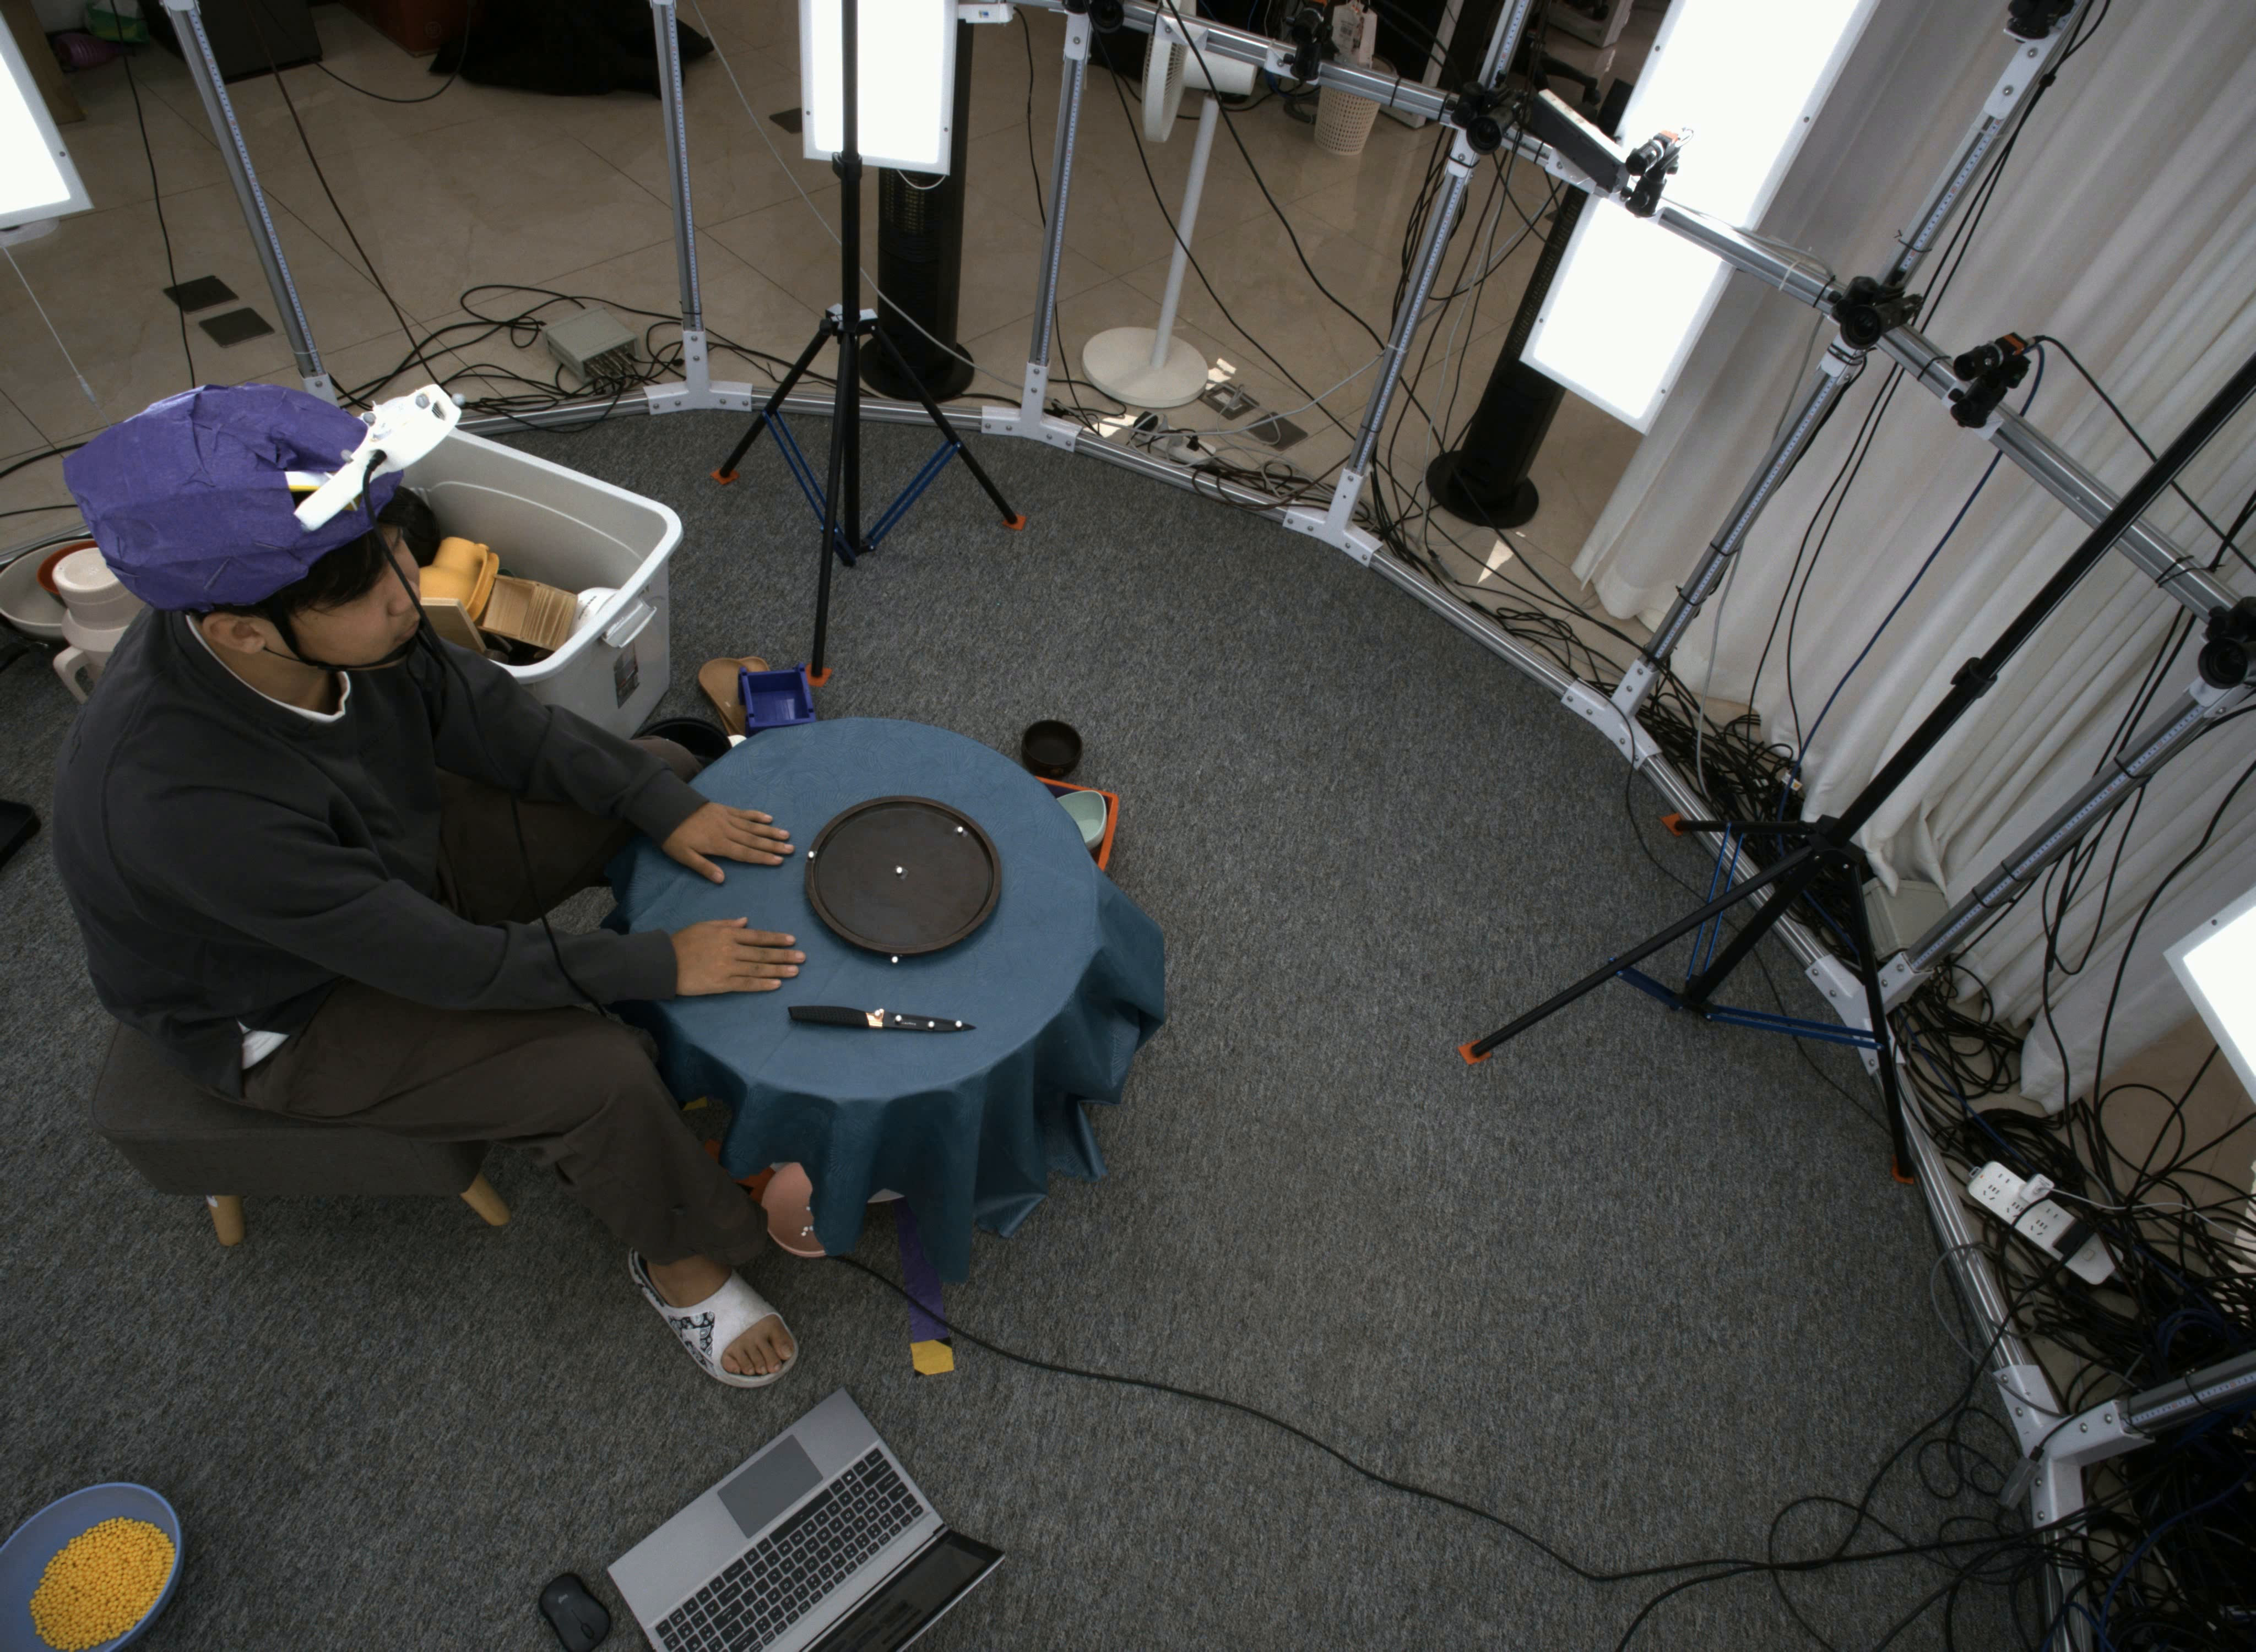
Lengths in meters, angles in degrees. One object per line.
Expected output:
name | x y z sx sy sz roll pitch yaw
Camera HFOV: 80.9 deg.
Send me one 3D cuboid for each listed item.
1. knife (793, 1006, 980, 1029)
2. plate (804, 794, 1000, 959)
knife | -0.291 0.231 1.574 0.225 0.017 0.025 5 46 -11
plate | -0.292 0.063 1.691 0.254 0.029 0.250 7 54 -8
